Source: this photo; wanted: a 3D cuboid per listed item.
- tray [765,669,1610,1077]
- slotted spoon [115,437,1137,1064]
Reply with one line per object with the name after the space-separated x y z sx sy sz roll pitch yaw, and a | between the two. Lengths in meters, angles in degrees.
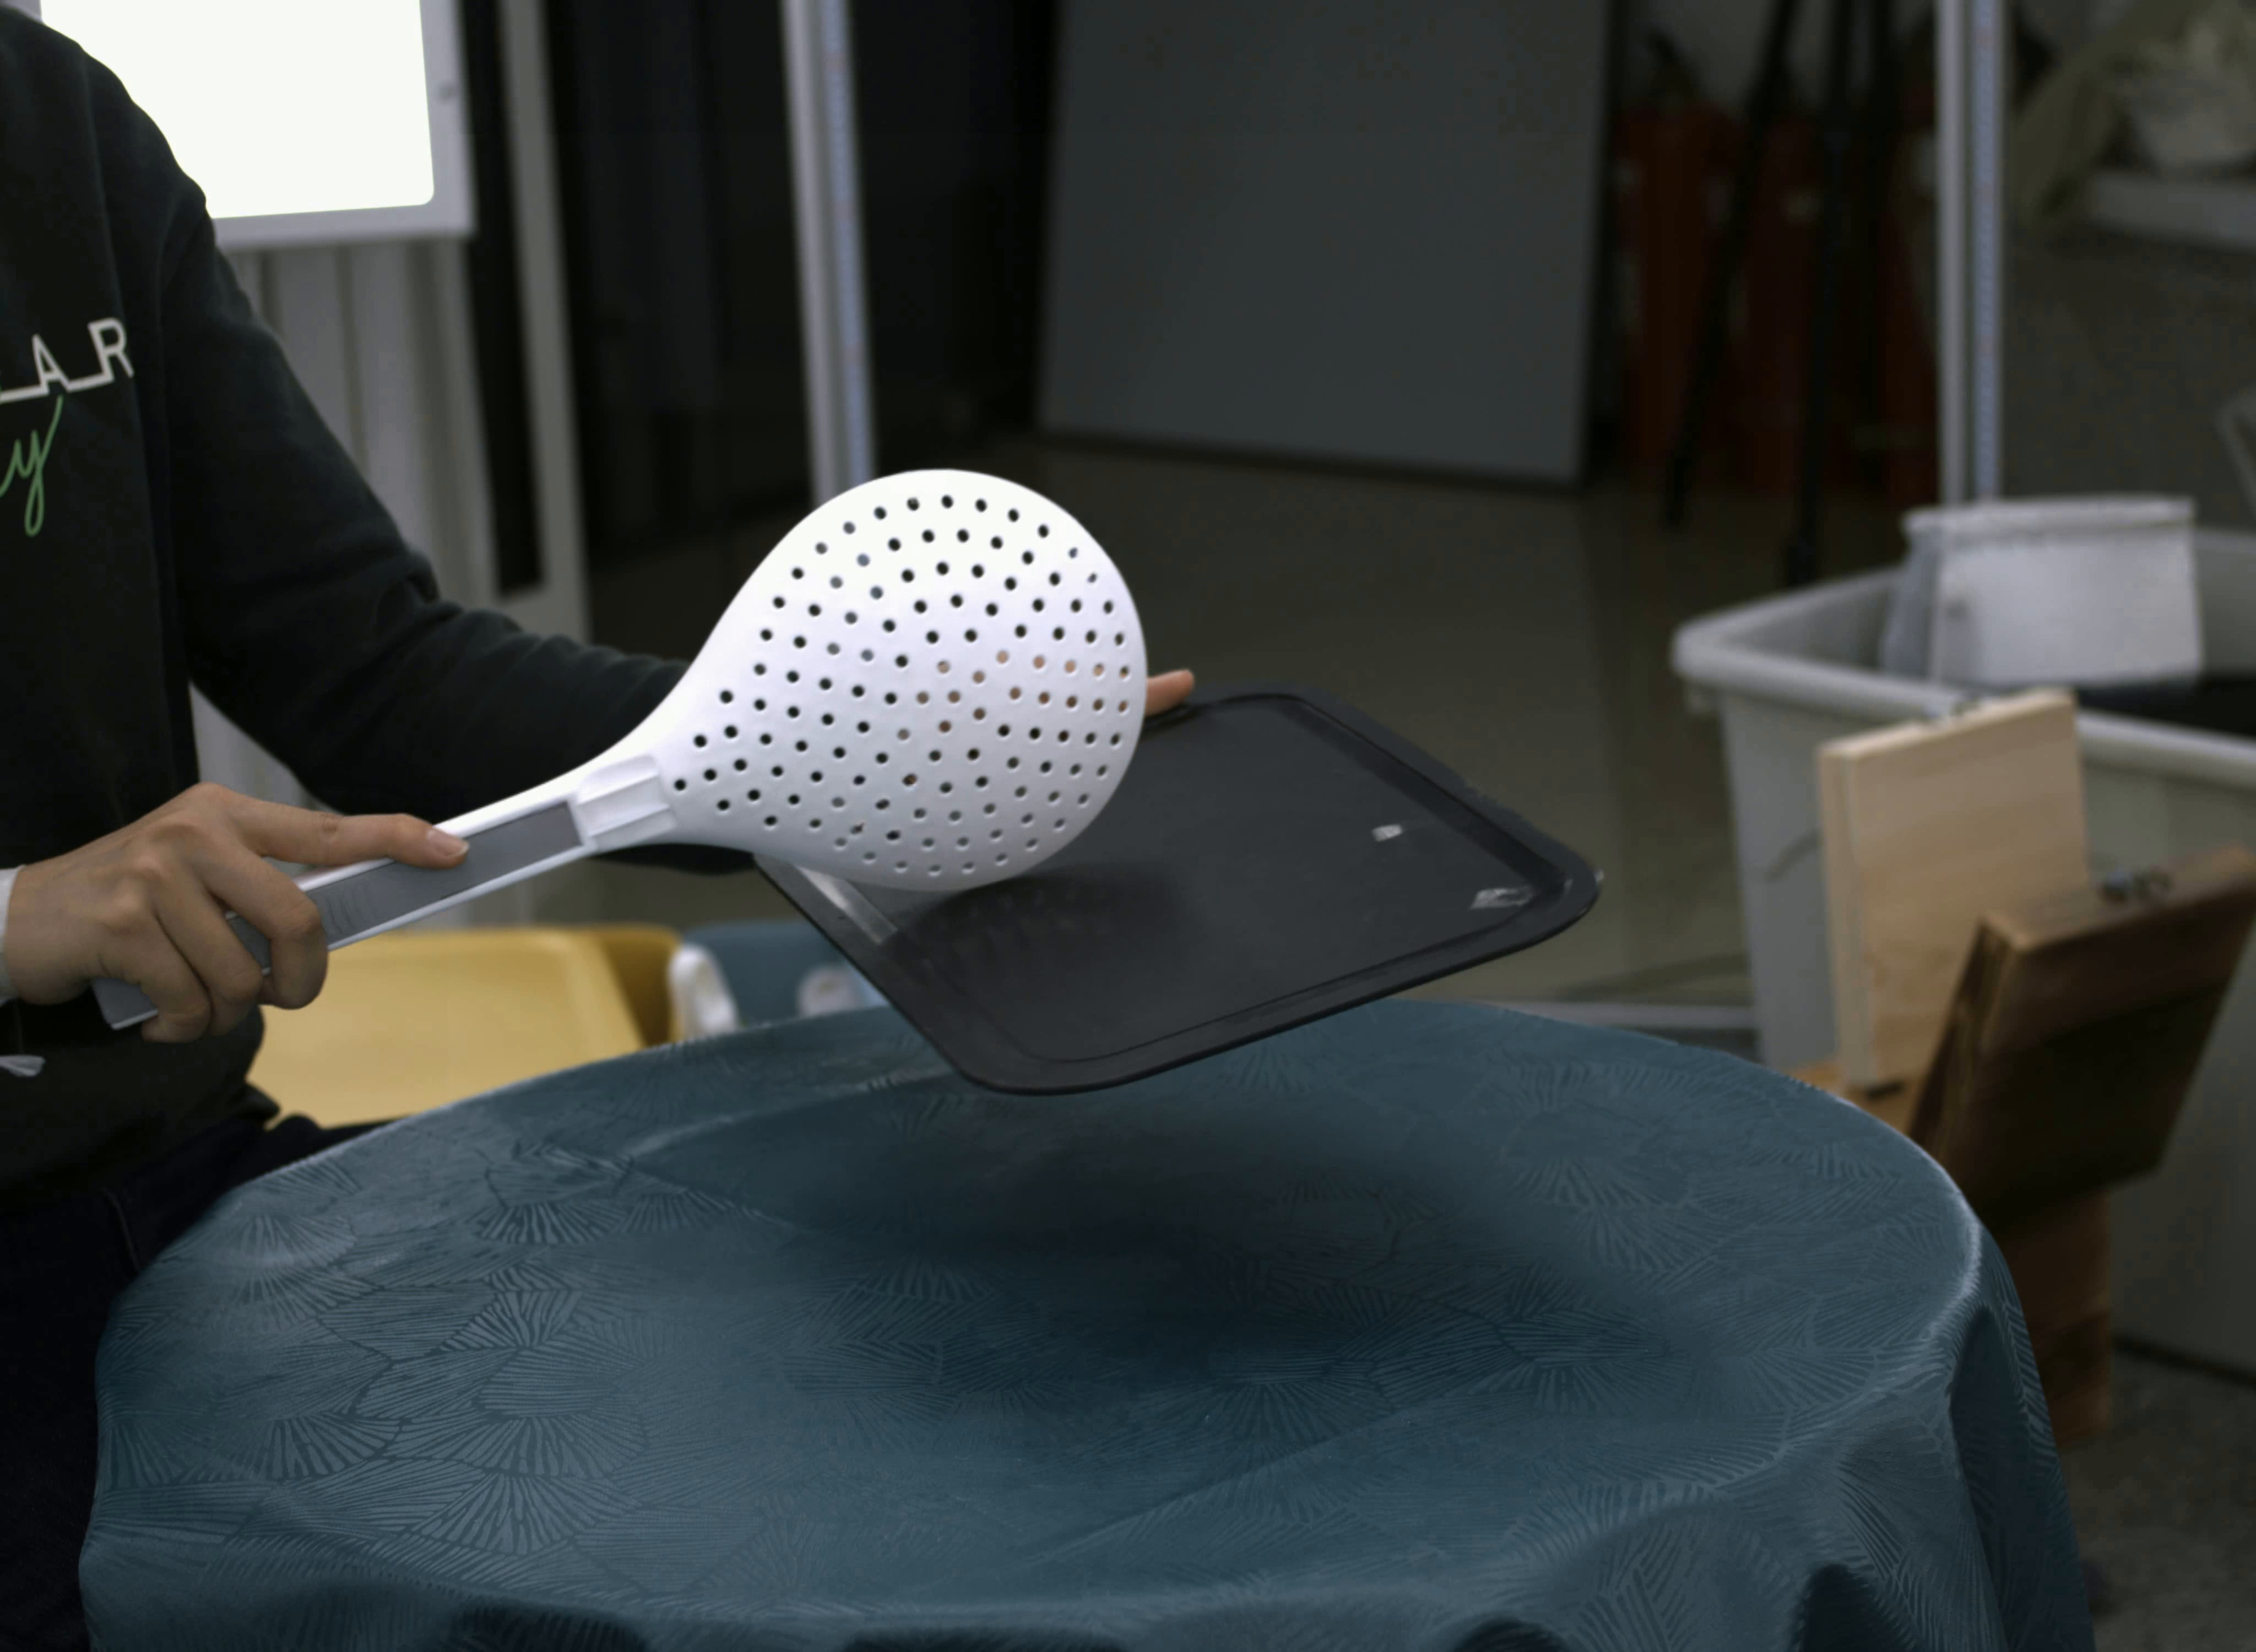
0.008 0.007 1.725 0.207 0.010 0.328 -19 21 -14 | tray
-0.155 -0.010 1.705 0.346 0.136 0.046 -23 18 -4 | slotted spoon
